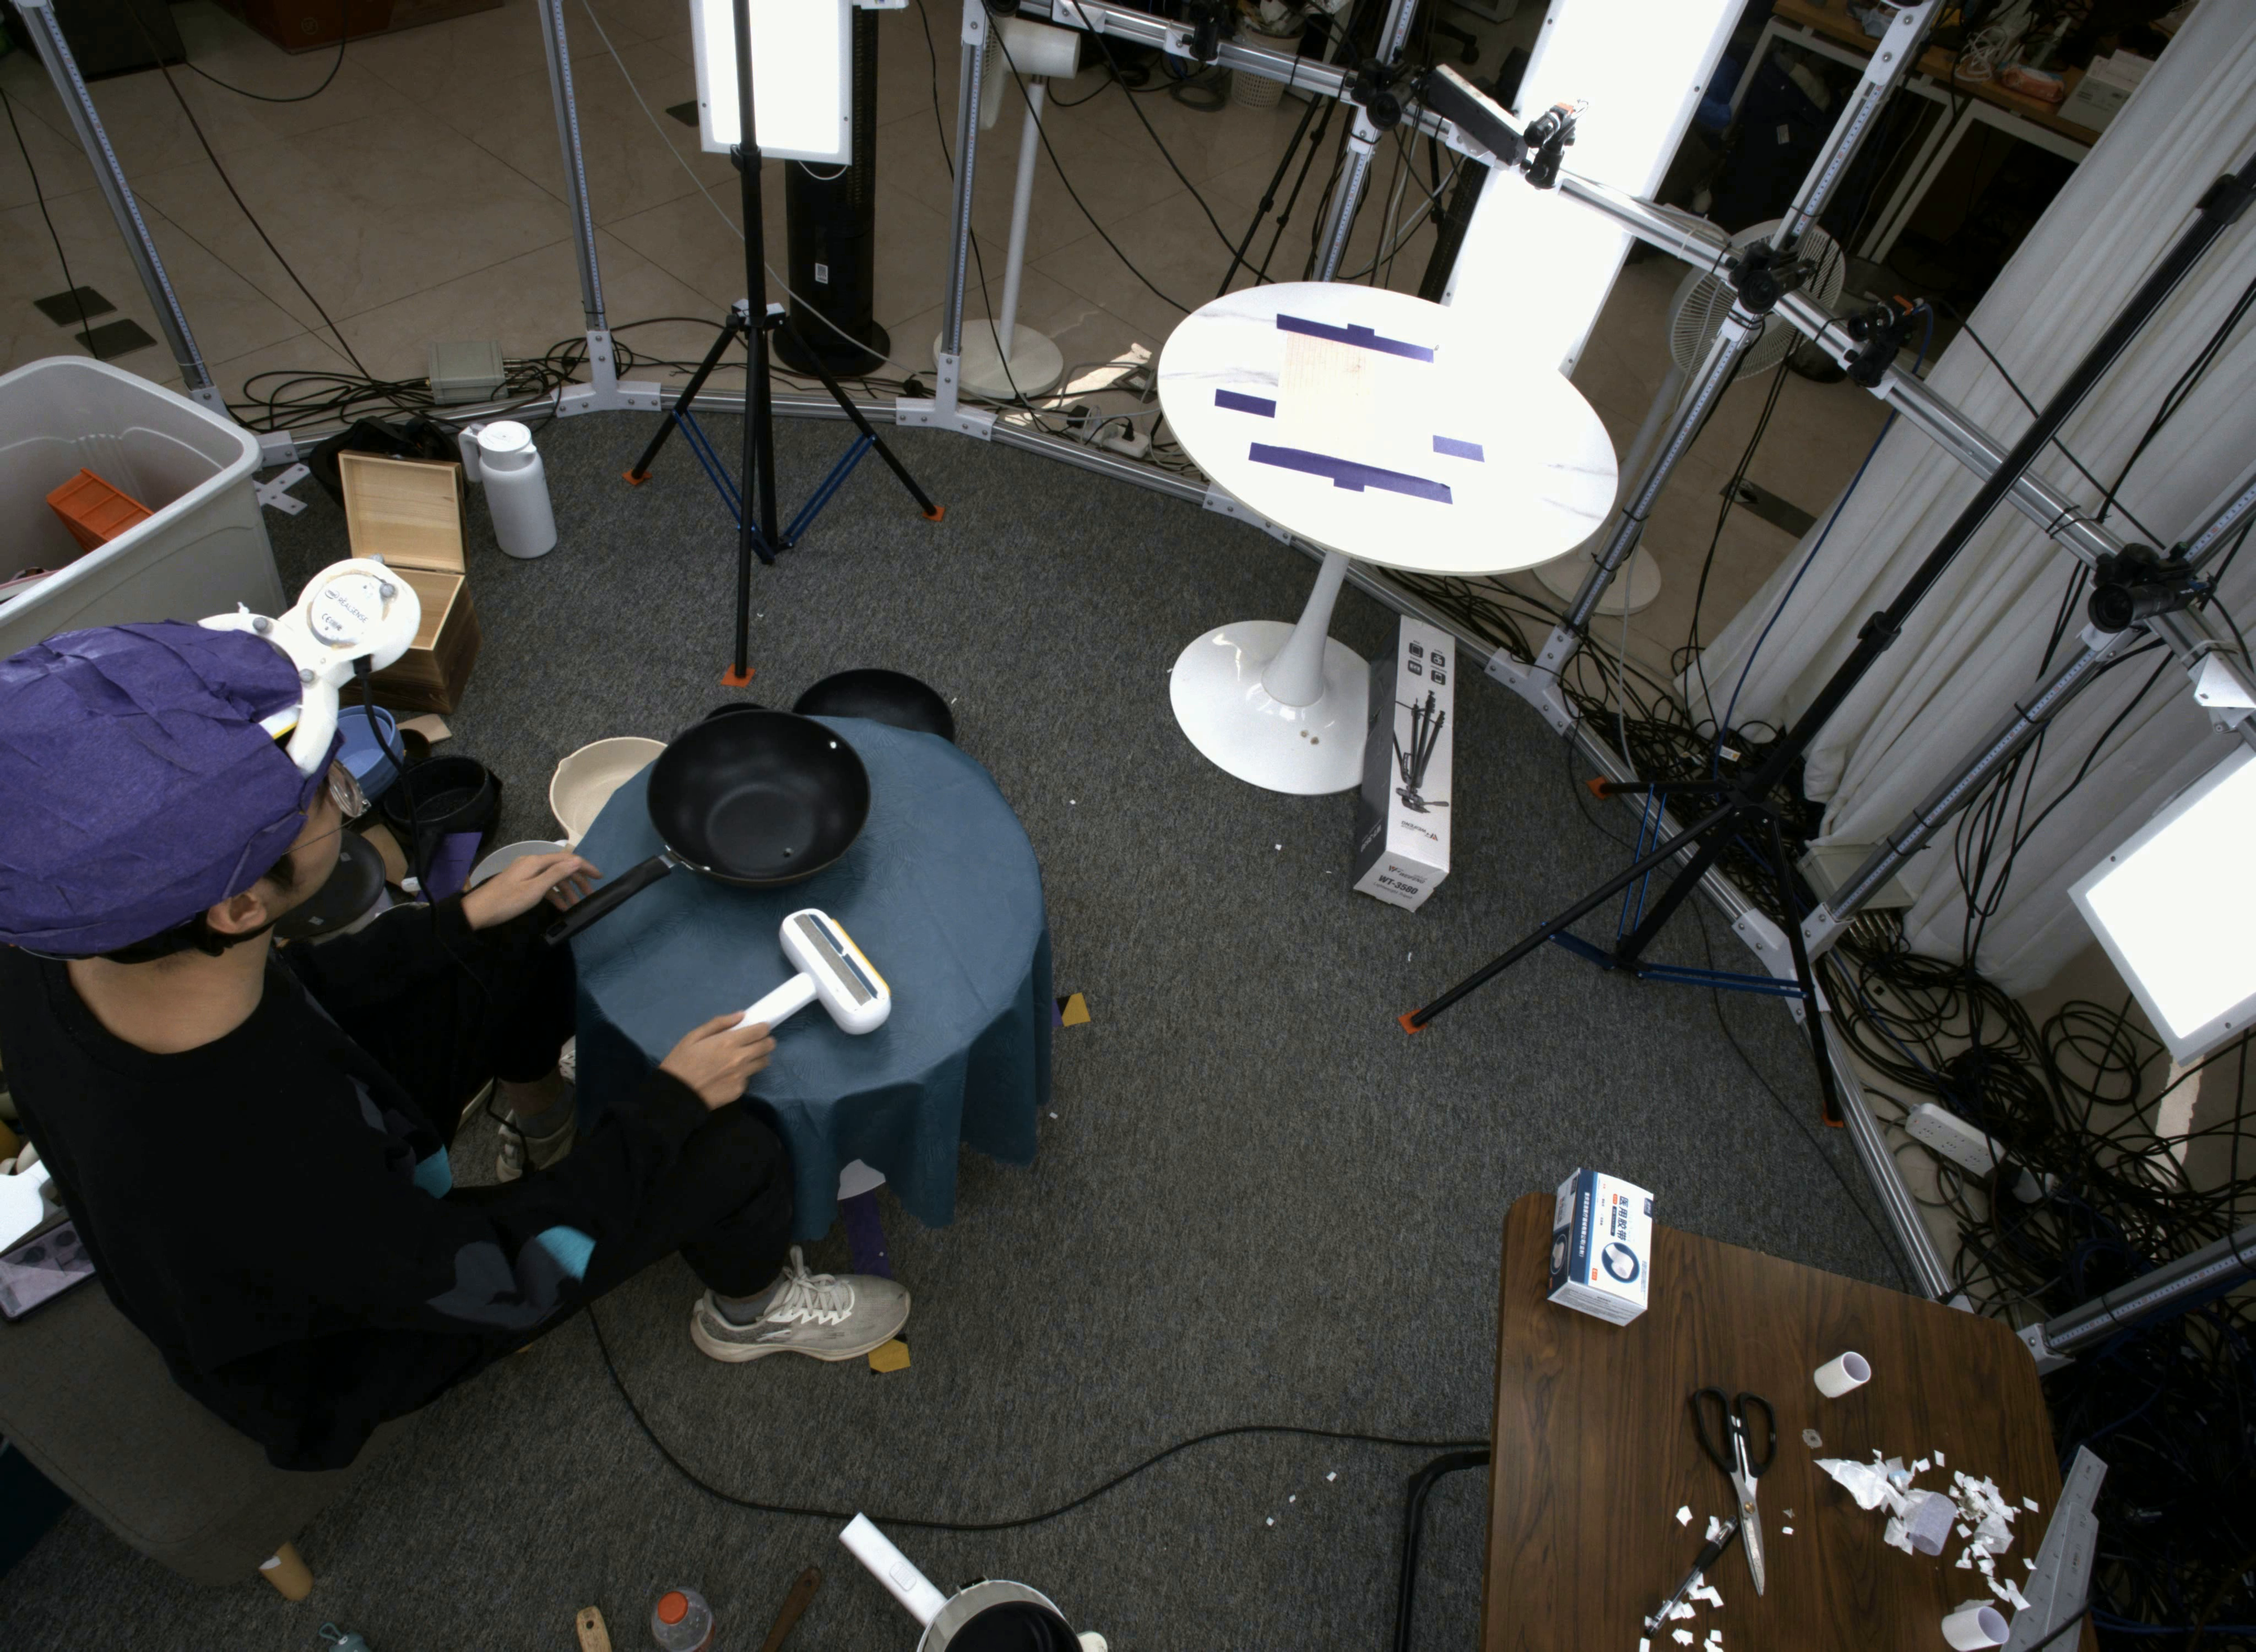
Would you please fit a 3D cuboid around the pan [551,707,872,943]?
[{"bbox_3d":[-0.531,0.027,1.627,0.282,0.088,0.463,38,54,14],"label":"pan"}]

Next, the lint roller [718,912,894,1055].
[{"bbox_3d":[-0.398,0.204,1.543,0.193,0.076,0.187,-24,58,-27],"label":"lint roller"}]
